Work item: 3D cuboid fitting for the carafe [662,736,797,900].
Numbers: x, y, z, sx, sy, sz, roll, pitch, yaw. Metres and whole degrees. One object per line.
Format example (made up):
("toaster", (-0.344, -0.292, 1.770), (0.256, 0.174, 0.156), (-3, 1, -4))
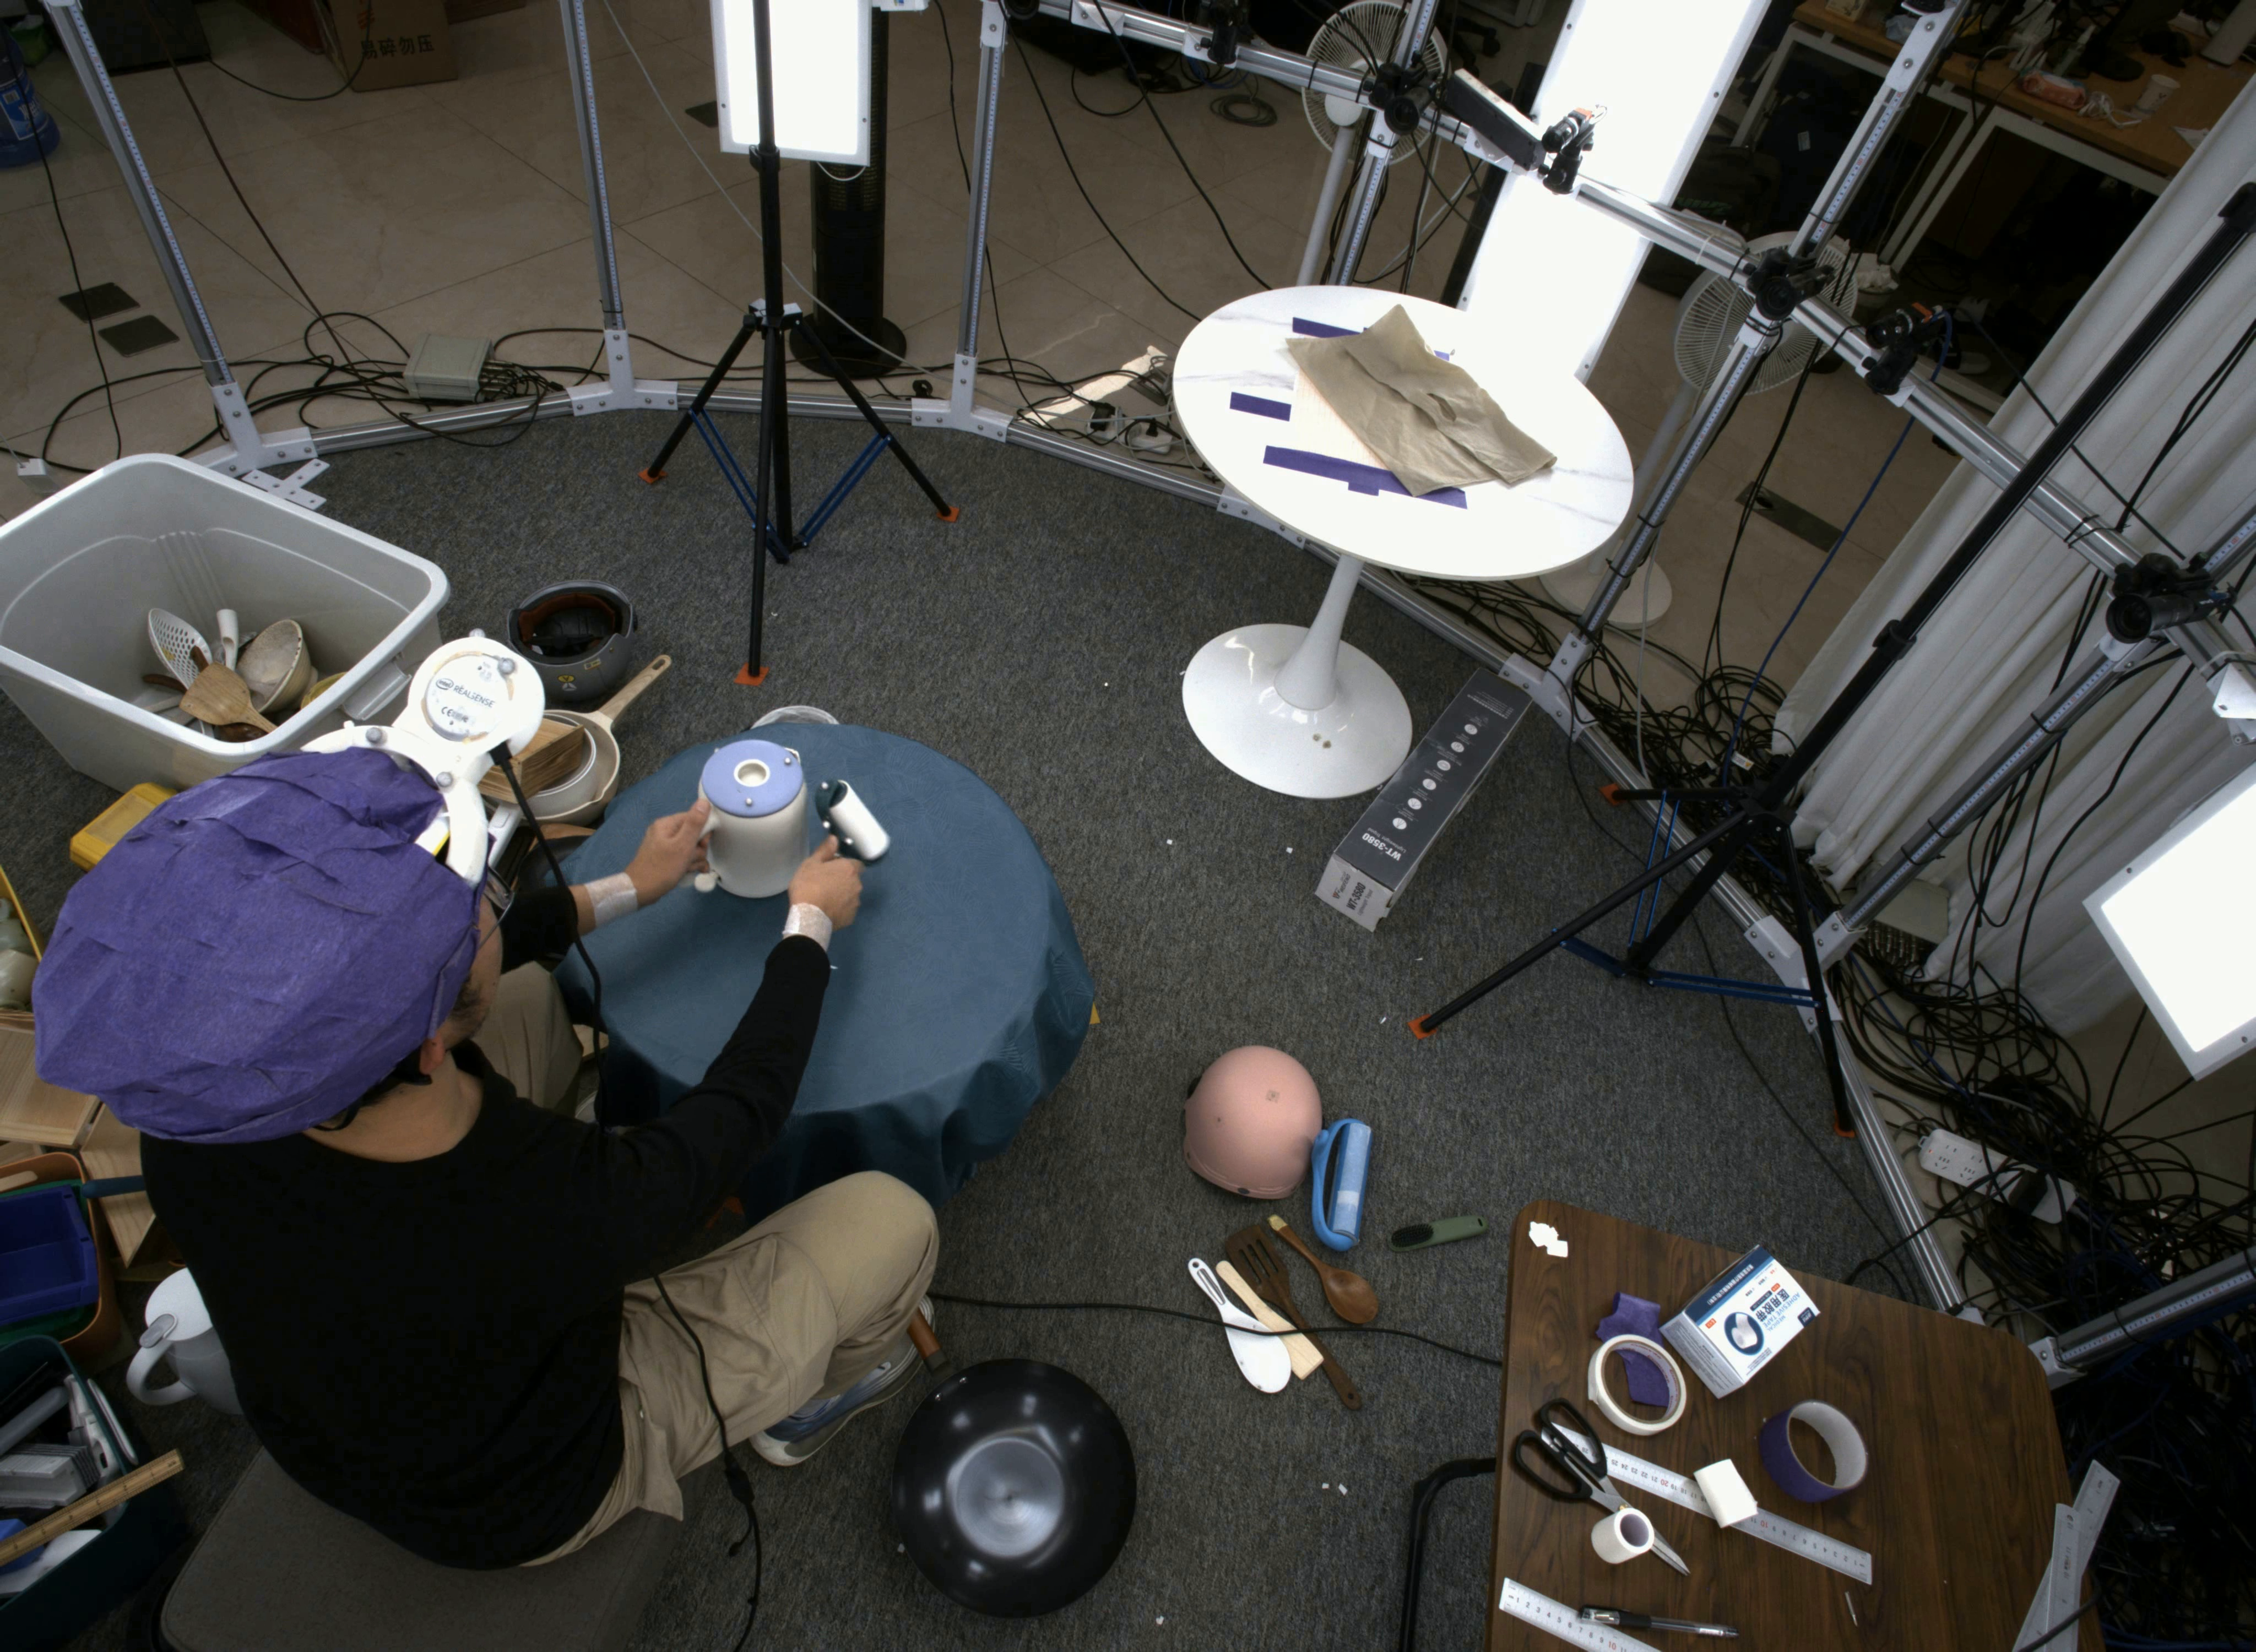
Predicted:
("carafe", (-0.496, 0.004, 1.586), (0.129, 0.186, 0.191), (36, 55, 17))

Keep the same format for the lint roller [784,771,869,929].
("lint roller", (-0.369, 0.043, 1.558), (0.047, 0.139, 0.177), (-6, 51, 17))
